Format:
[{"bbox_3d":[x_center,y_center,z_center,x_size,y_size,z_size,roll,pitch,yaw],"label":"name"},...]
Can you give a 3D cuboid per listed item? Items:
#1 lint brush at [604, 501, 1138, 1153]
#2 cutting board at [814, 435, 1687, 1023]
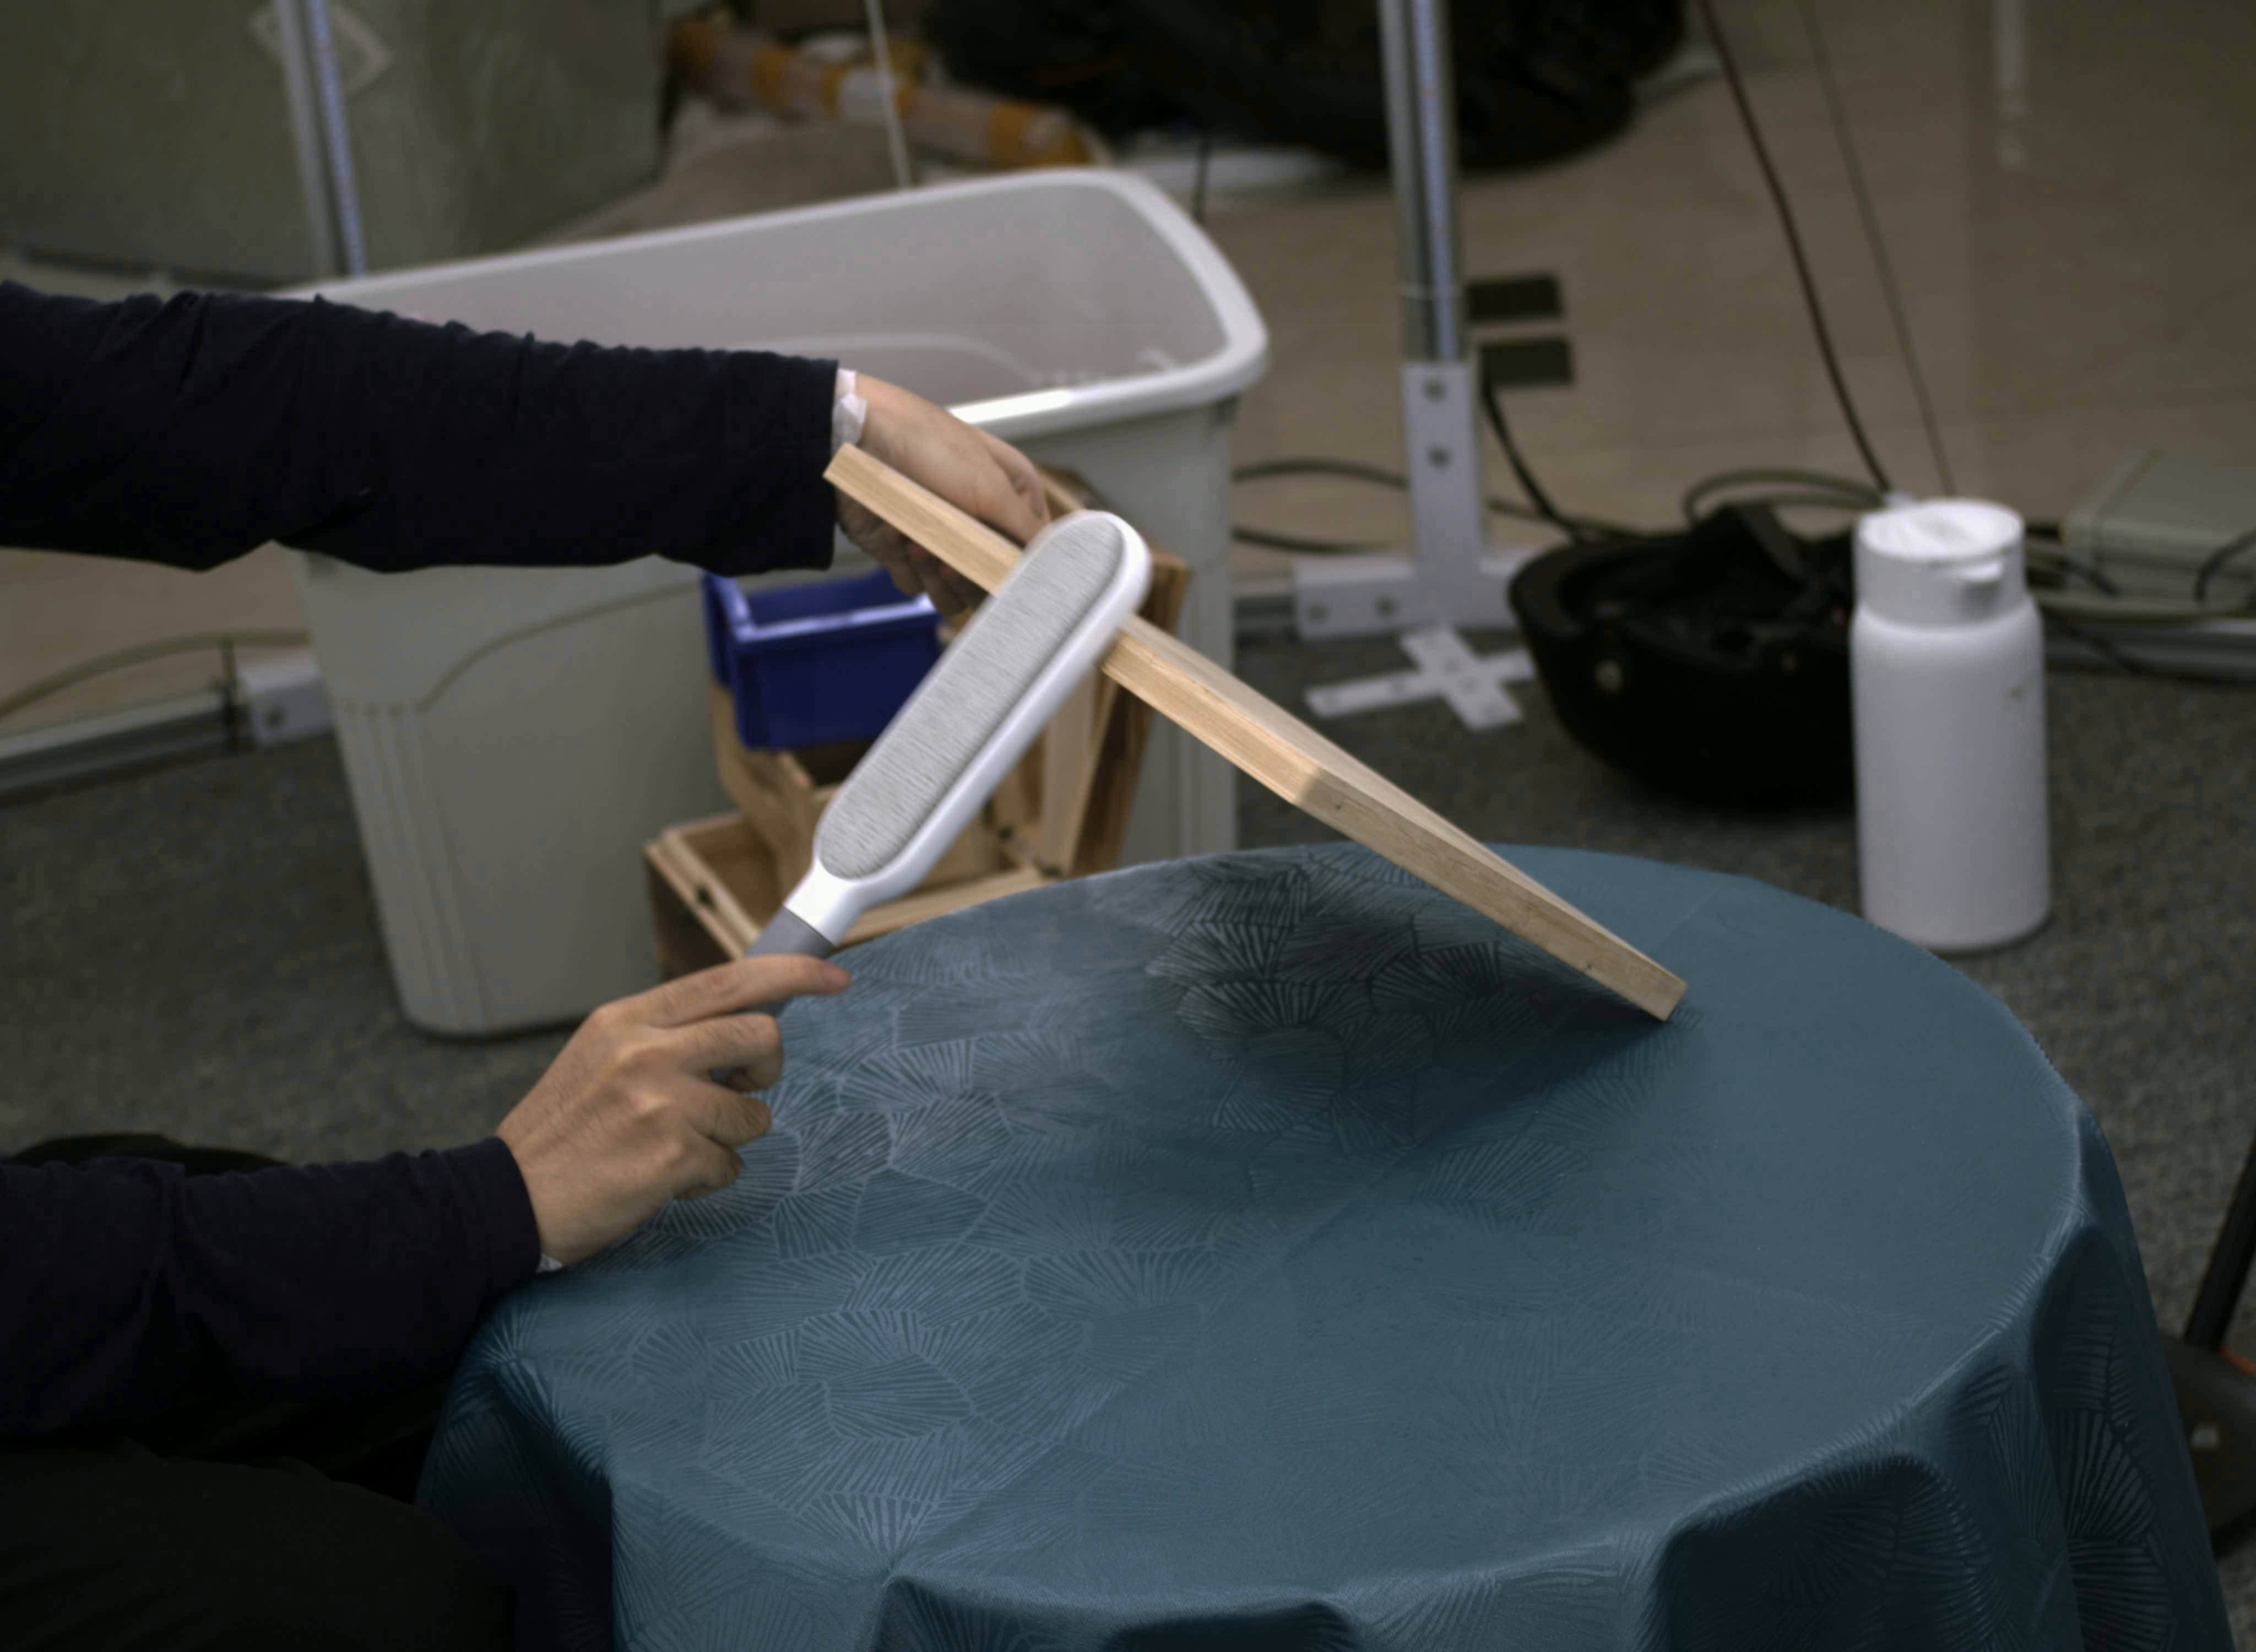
[{"bbox_3d":[-0.100,0.000,2.164,0.059,0.021,0.308,35,85,41],"label":"lint brush"},{"bbox_3d":[0.045,-0.042,2.273,0.253,0.023,0.344,30,4,-44],"label":"cutting board"}]
